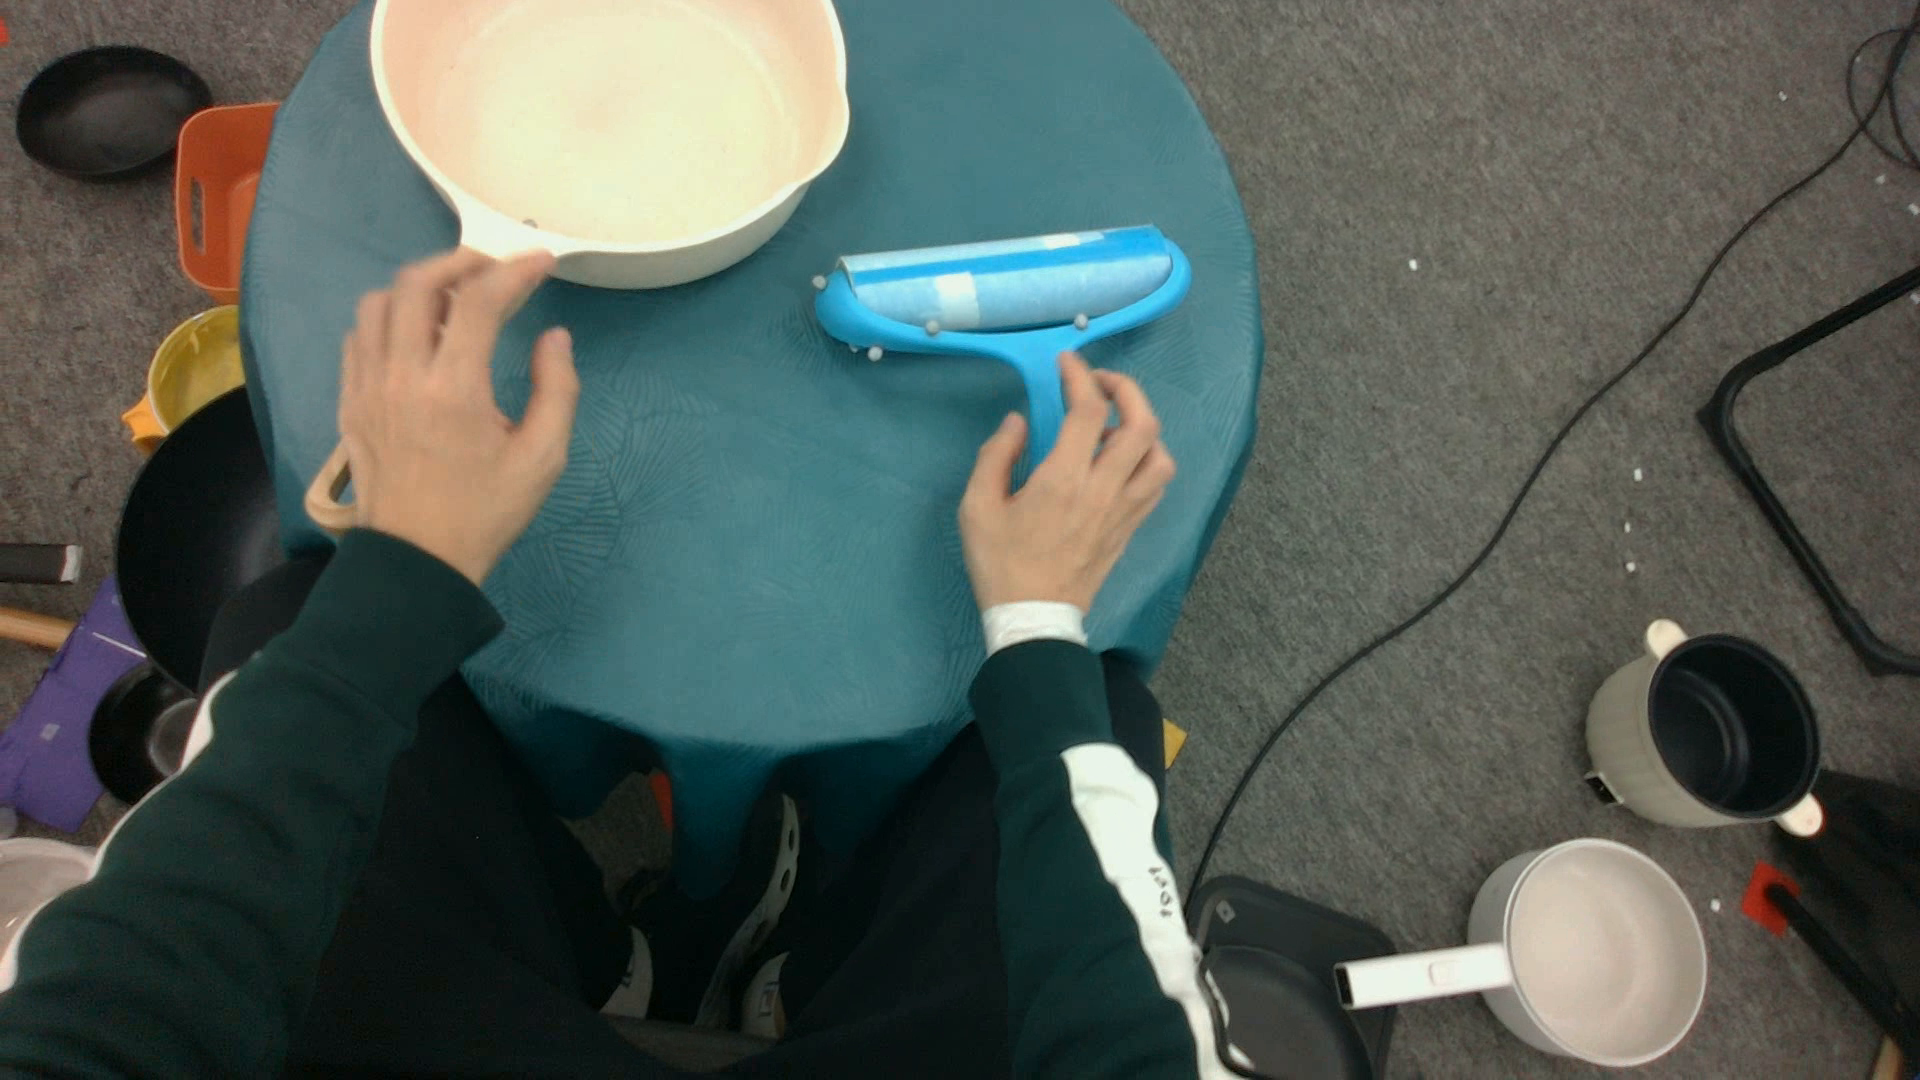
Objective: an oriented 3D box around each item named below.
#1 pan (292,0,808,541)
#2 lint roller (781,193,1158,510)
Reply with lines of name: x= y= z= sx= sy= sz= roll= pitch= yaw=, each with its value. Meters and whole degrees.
pan: x=-0.244 y=-0.187 z=0.745 sx=0.263 sy=0.101 sz=0.436 roll=20 pitch=70 yaw=-6
lint roller: x=0.024 y=-0.111 z=0.800 sx=0.229 sy=0.067 sz=0.180 roll=-13 pitch=75 yaw=-16
